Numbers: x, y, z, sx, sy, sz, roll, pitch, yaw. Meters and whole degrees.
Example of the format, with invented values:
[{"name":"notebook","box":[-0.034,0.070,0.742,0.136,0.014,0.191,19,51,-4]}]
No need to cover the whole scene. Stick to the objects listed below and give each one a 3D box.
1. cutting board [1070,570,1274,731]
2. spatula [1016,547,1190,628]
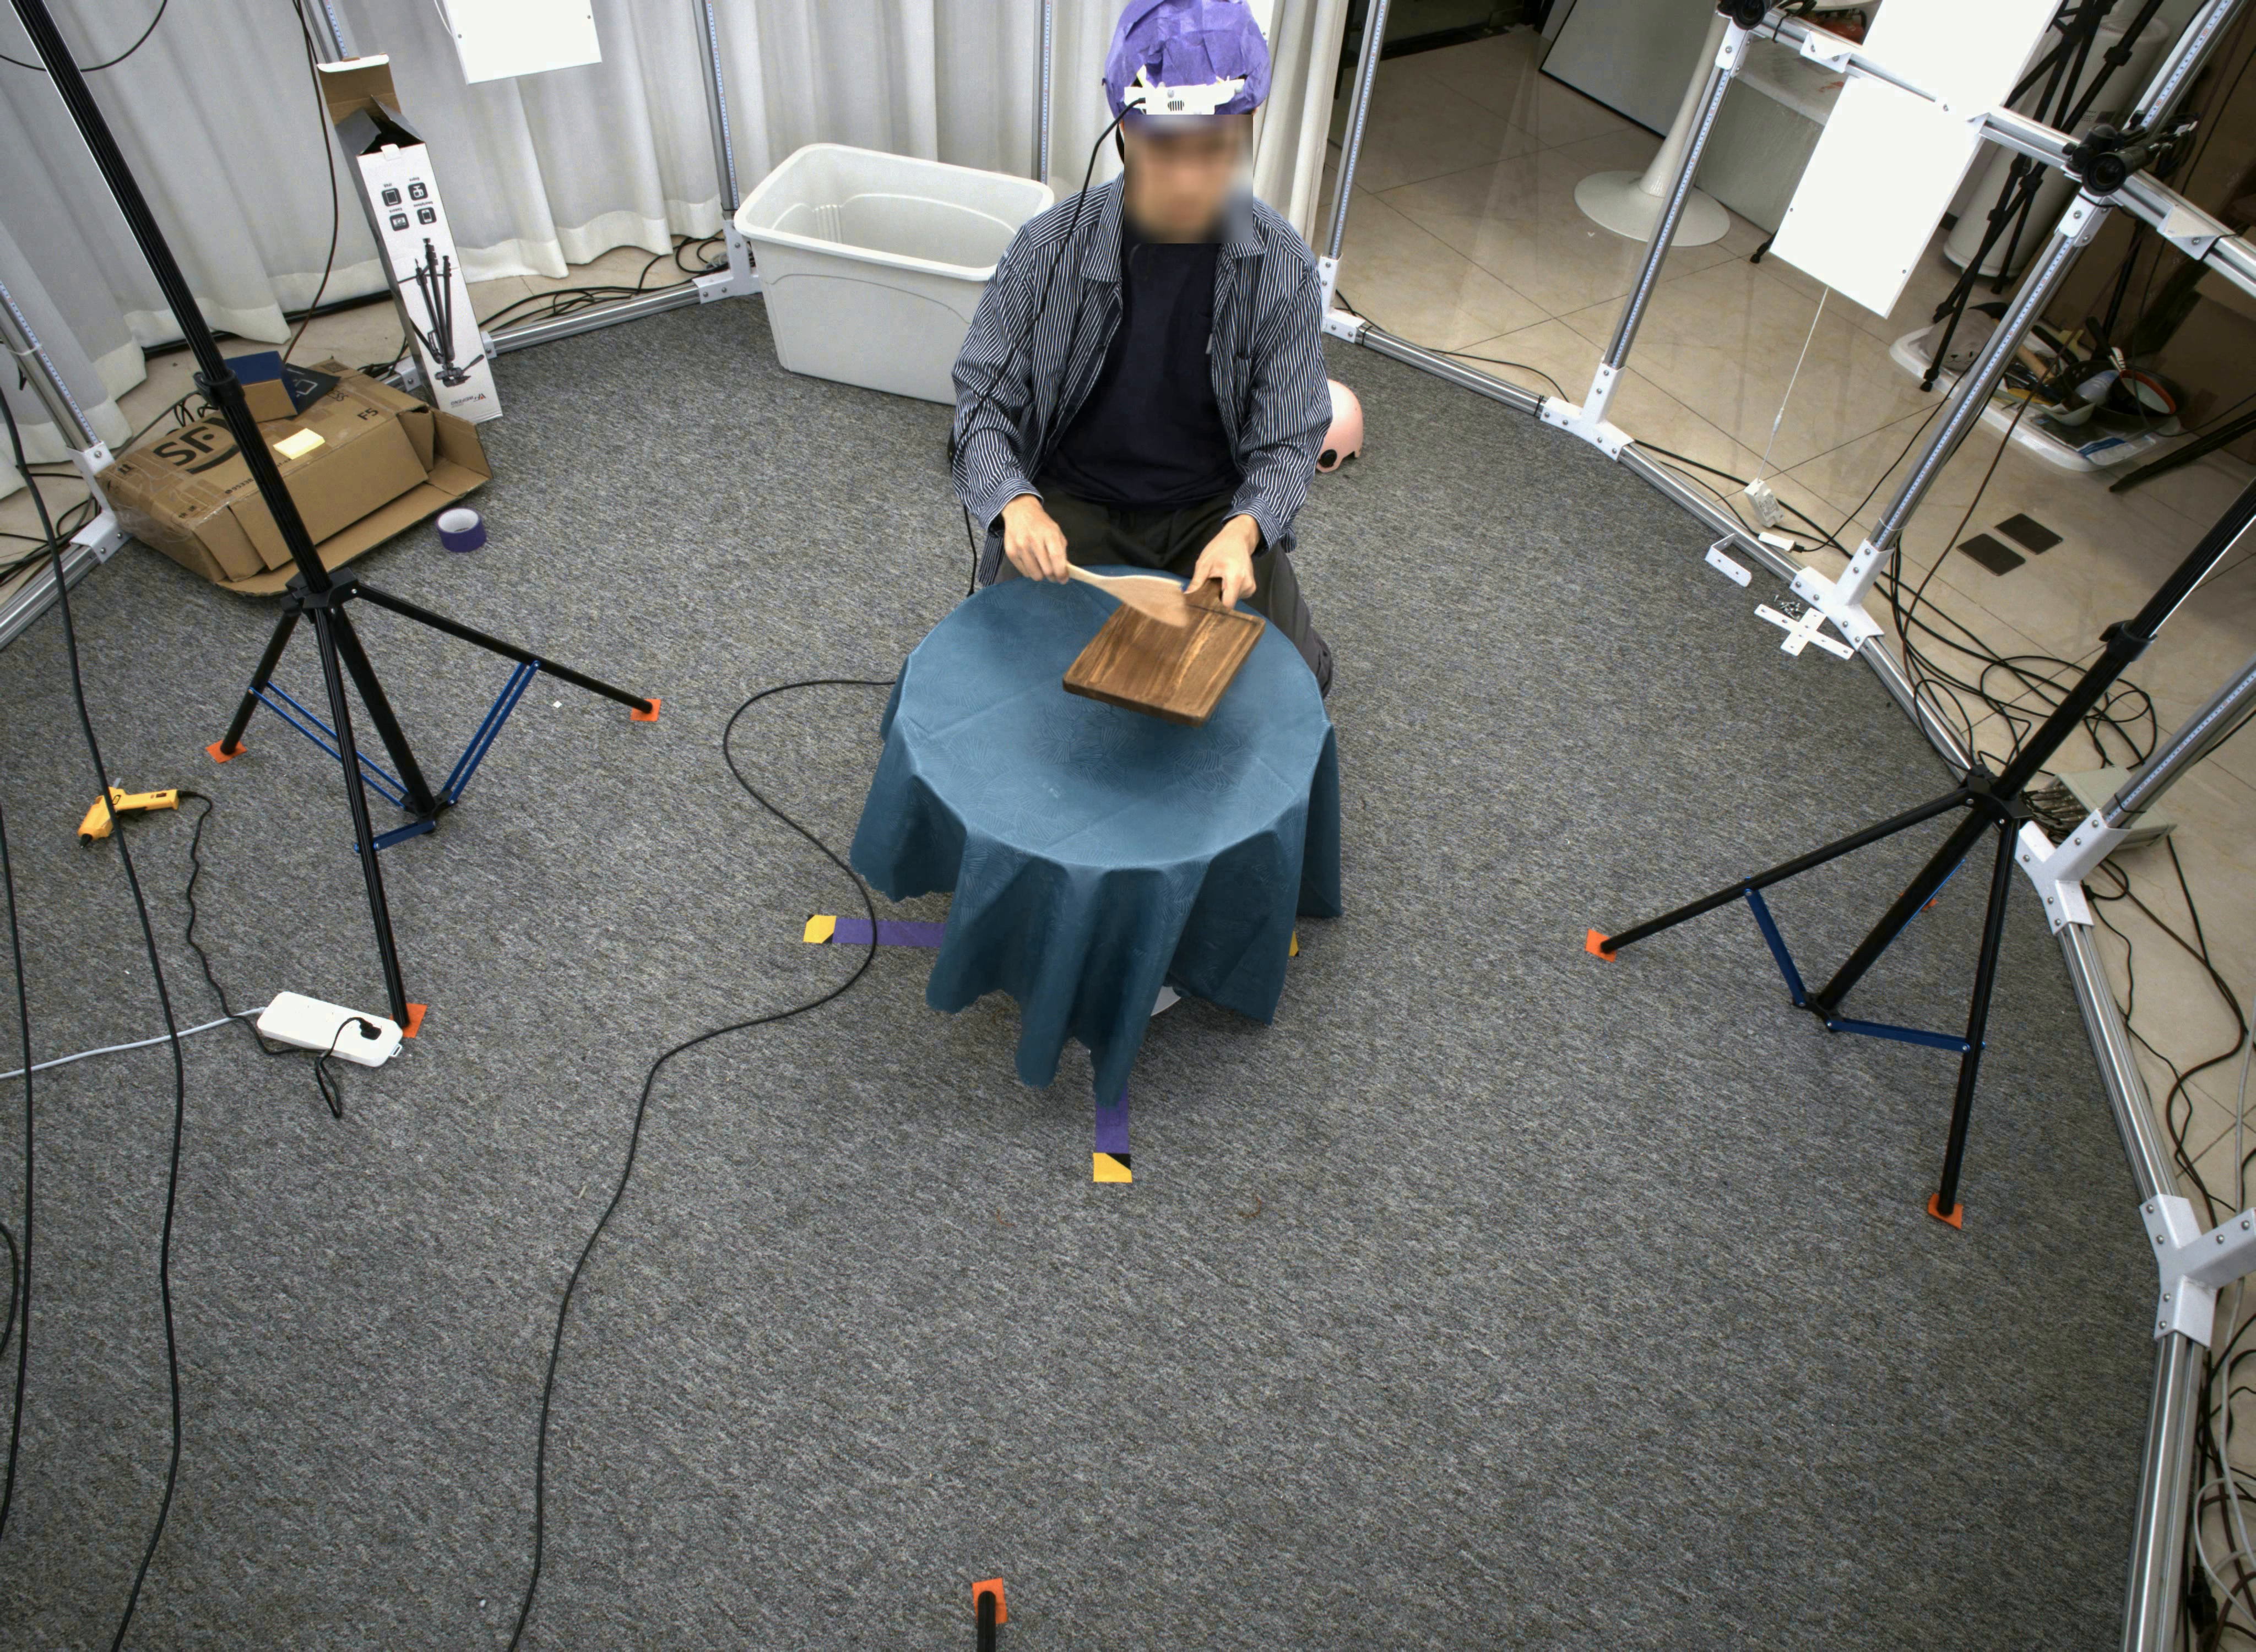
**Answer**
[{"name":"cutting board","box":[0.082,-0.255,1.733,0.202,0.022,0.358,17,43,17]},{"name":"spatula","box":[-0.039,-0.333,1.735,0.332,0.078,0.017,26,61,39]}]
